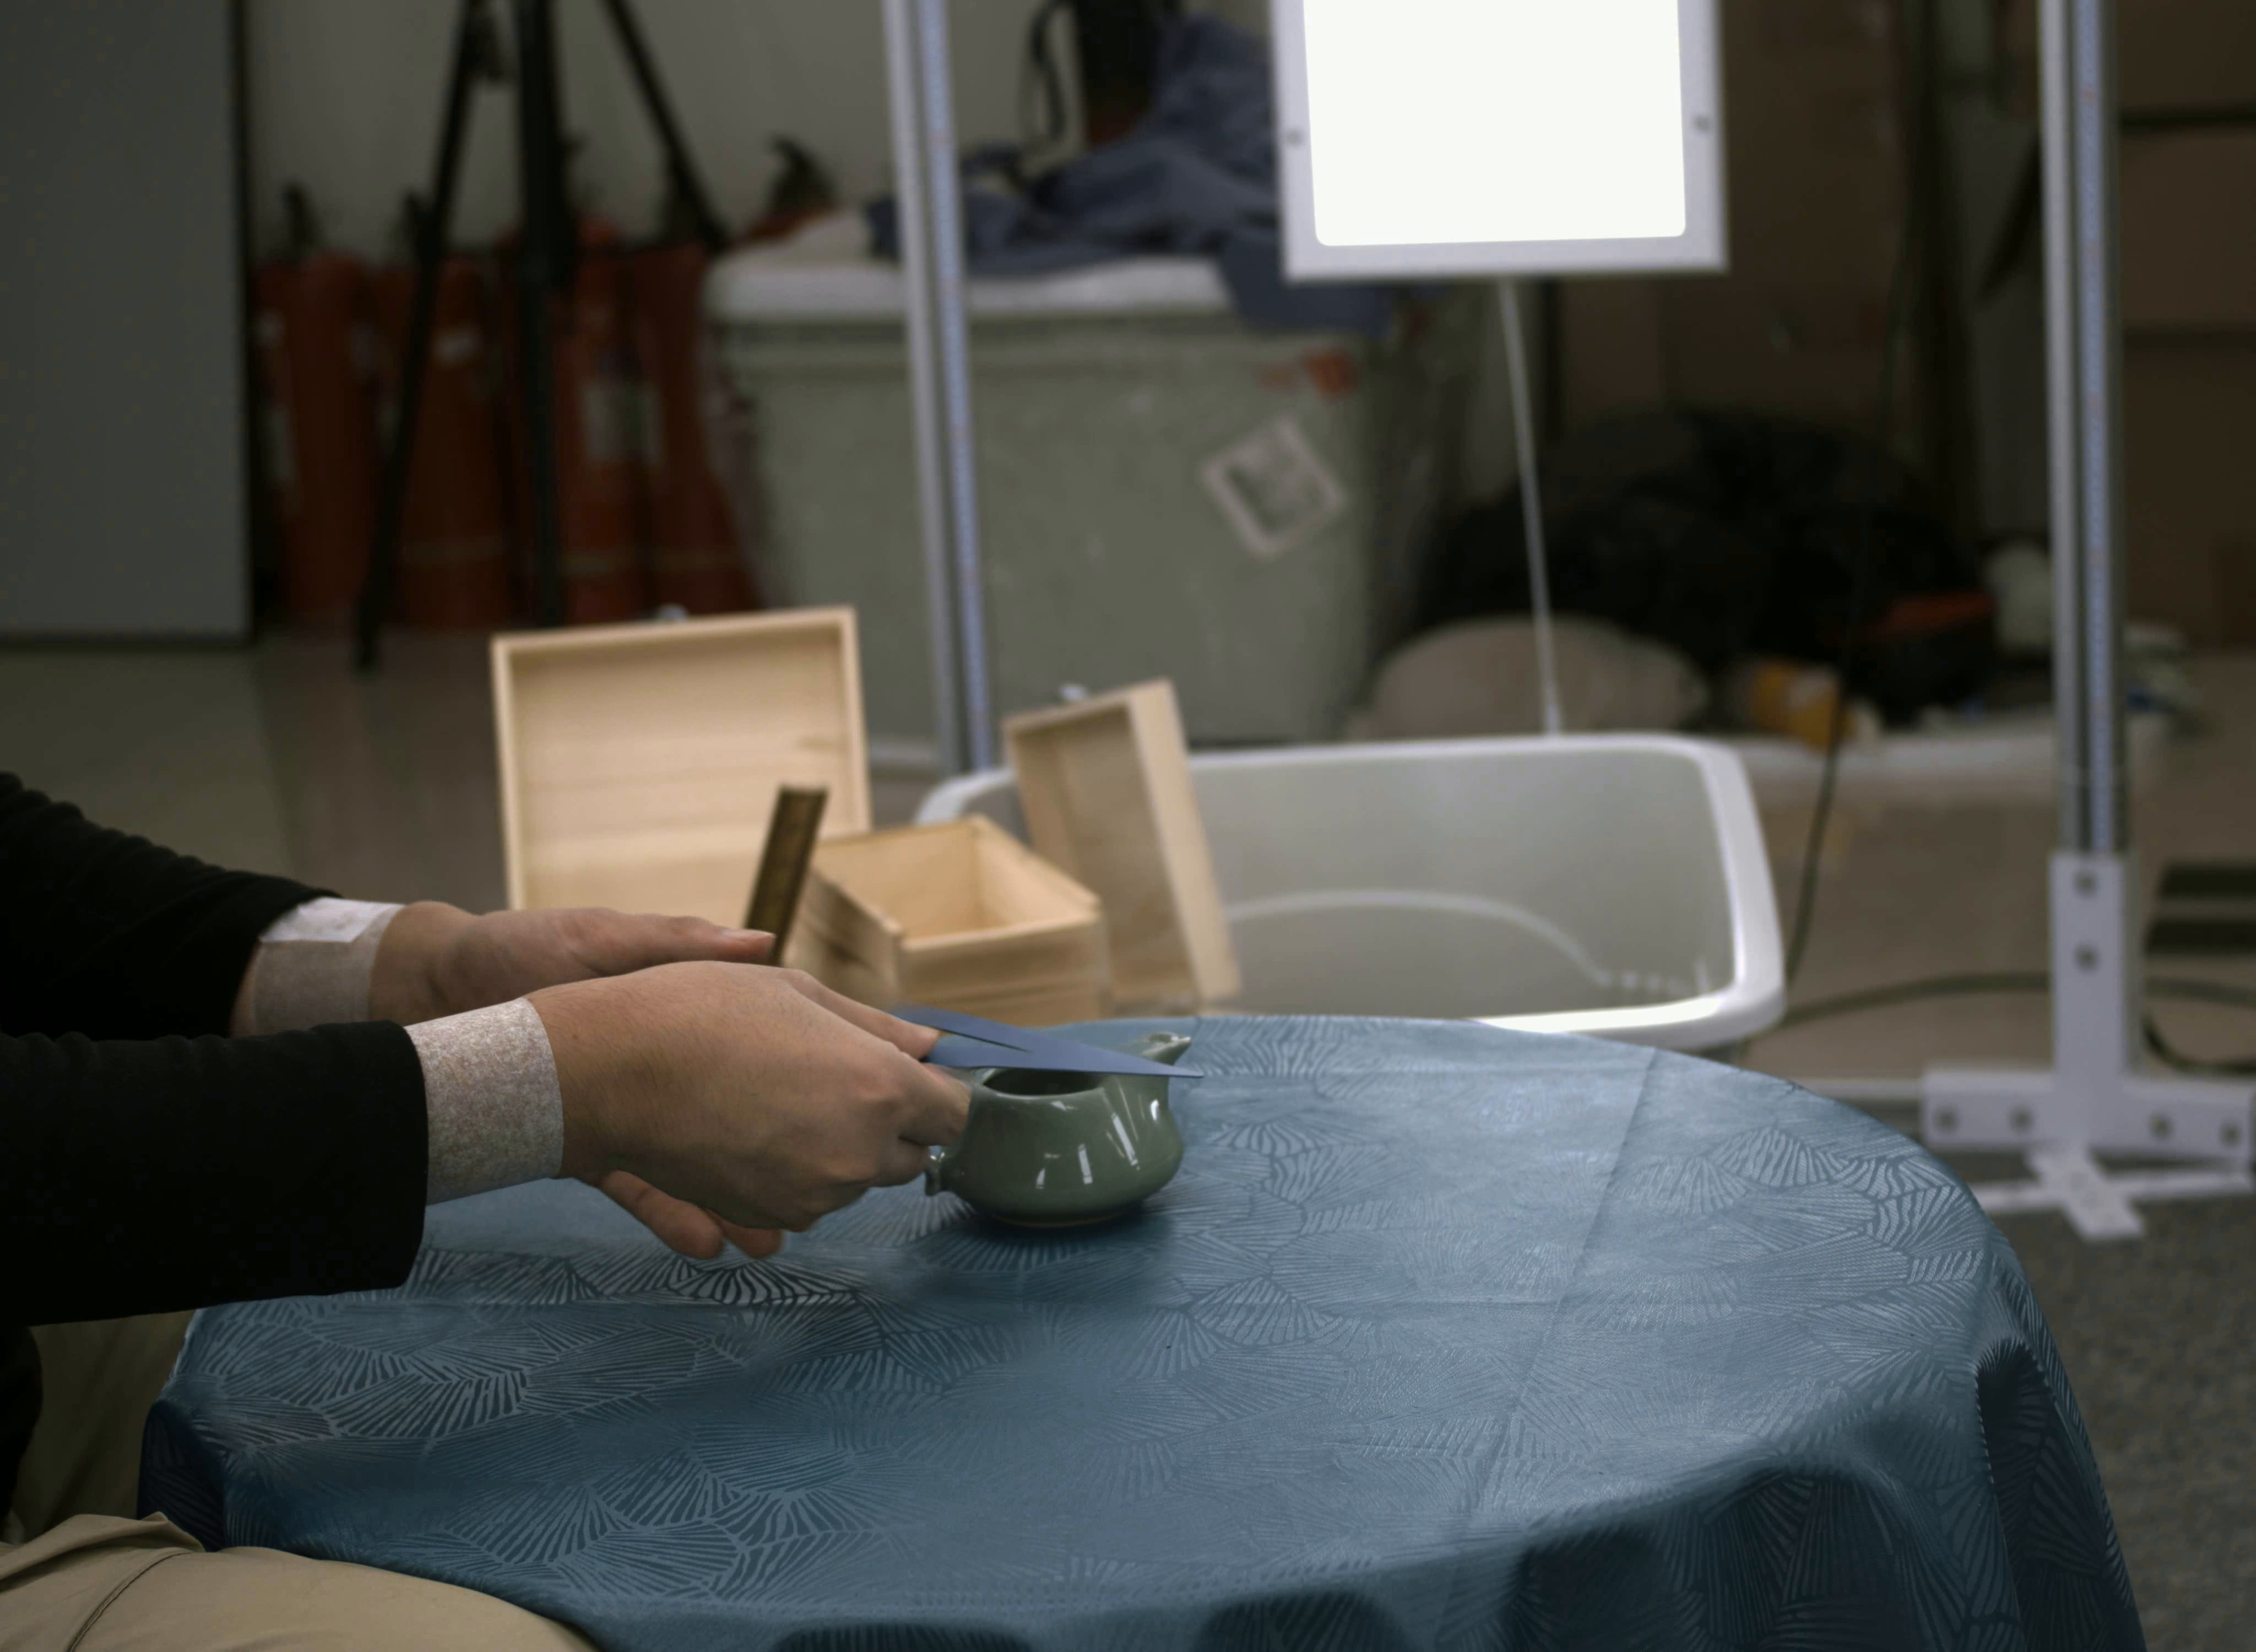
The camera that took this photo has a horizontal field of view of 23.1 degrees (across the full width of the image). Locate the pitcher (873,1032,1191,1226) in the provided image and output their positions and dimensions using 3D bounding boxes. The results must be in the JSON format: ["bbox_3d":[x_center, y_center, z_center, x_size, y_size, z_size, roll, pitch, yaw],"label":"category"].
[{"bbox_3d":[-0.031,0.104,1.883,0.111,0.056,0.085,-7,11,-9],"label":"pitcher"}]

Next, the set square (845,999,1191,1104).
[{"bbox_3d":[-0.045,0.078,1.800,0.134,0.006,0.059,15,22,36],"label":"set square"}]
